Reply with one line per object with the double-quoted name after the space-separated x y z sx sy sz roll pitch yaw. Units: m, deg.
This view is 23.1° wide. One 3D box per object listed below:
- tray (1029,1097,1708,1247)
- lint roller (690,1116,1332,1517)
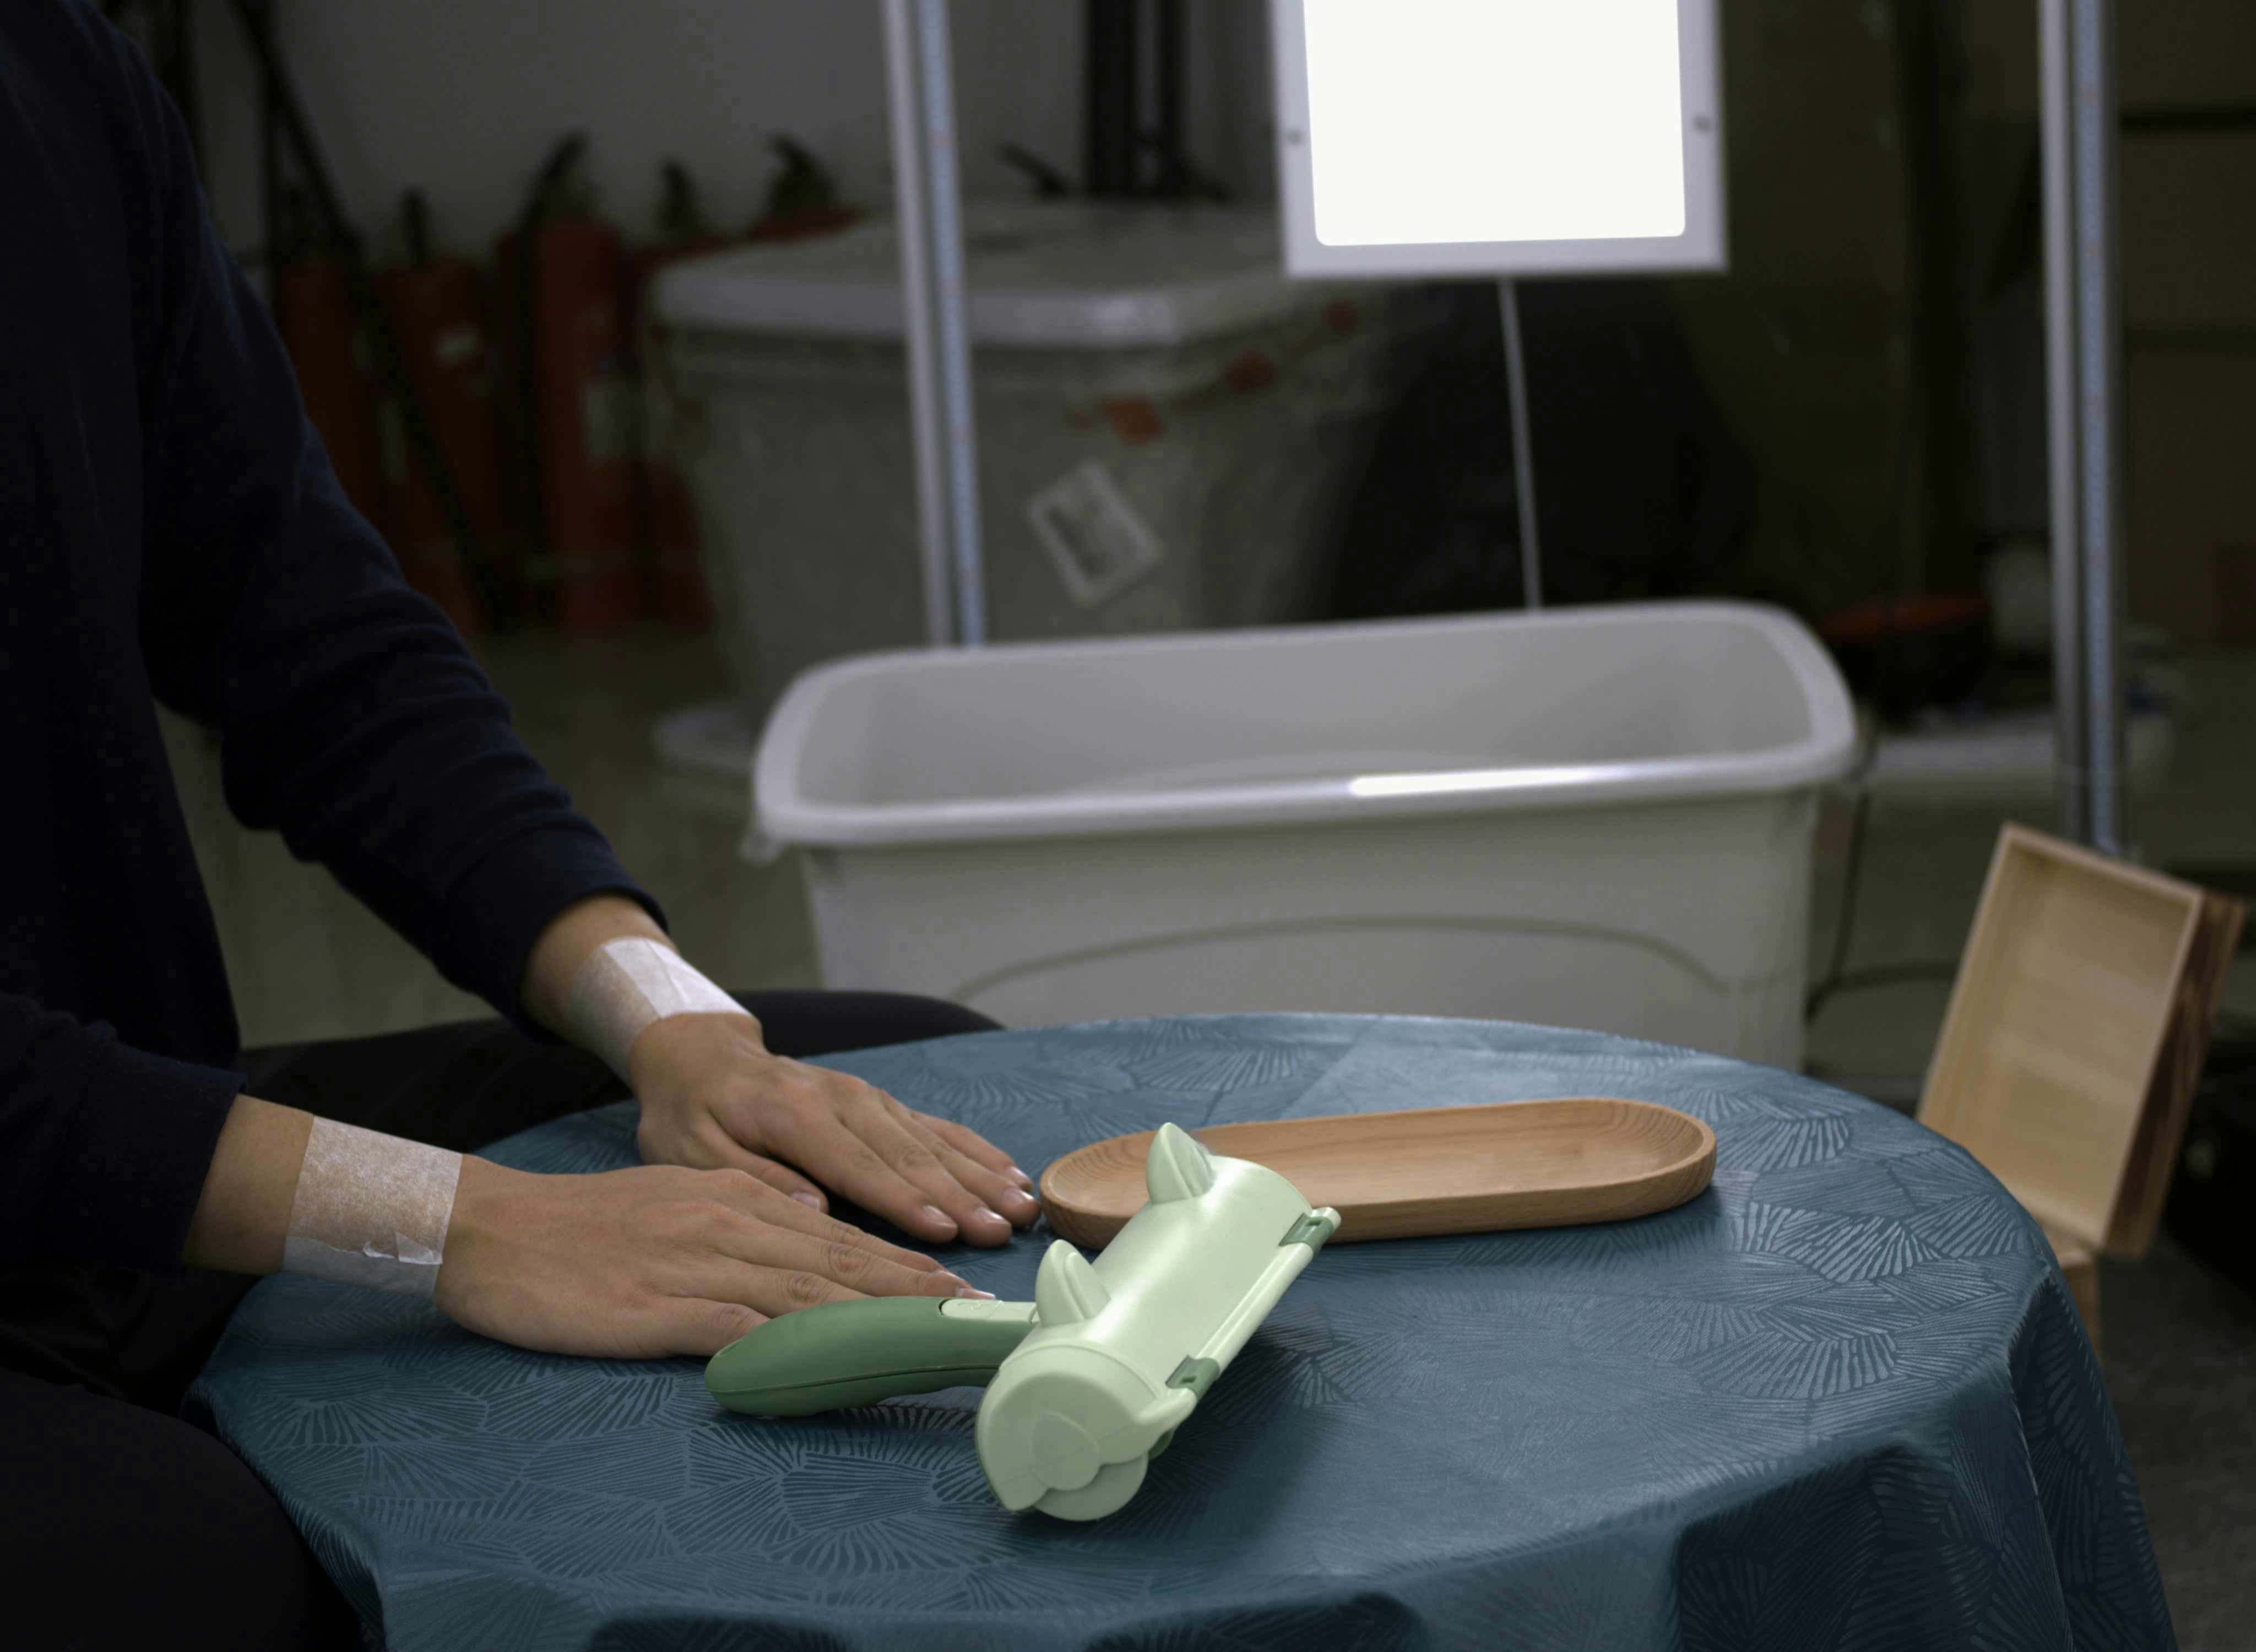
0.082 0.119 1.862 0.231 0.020 0.101 -6 13 2 "tray"
-0.047 0.140 1.678 0.185 0.082 0.195 5 15 16 "lint roller"
